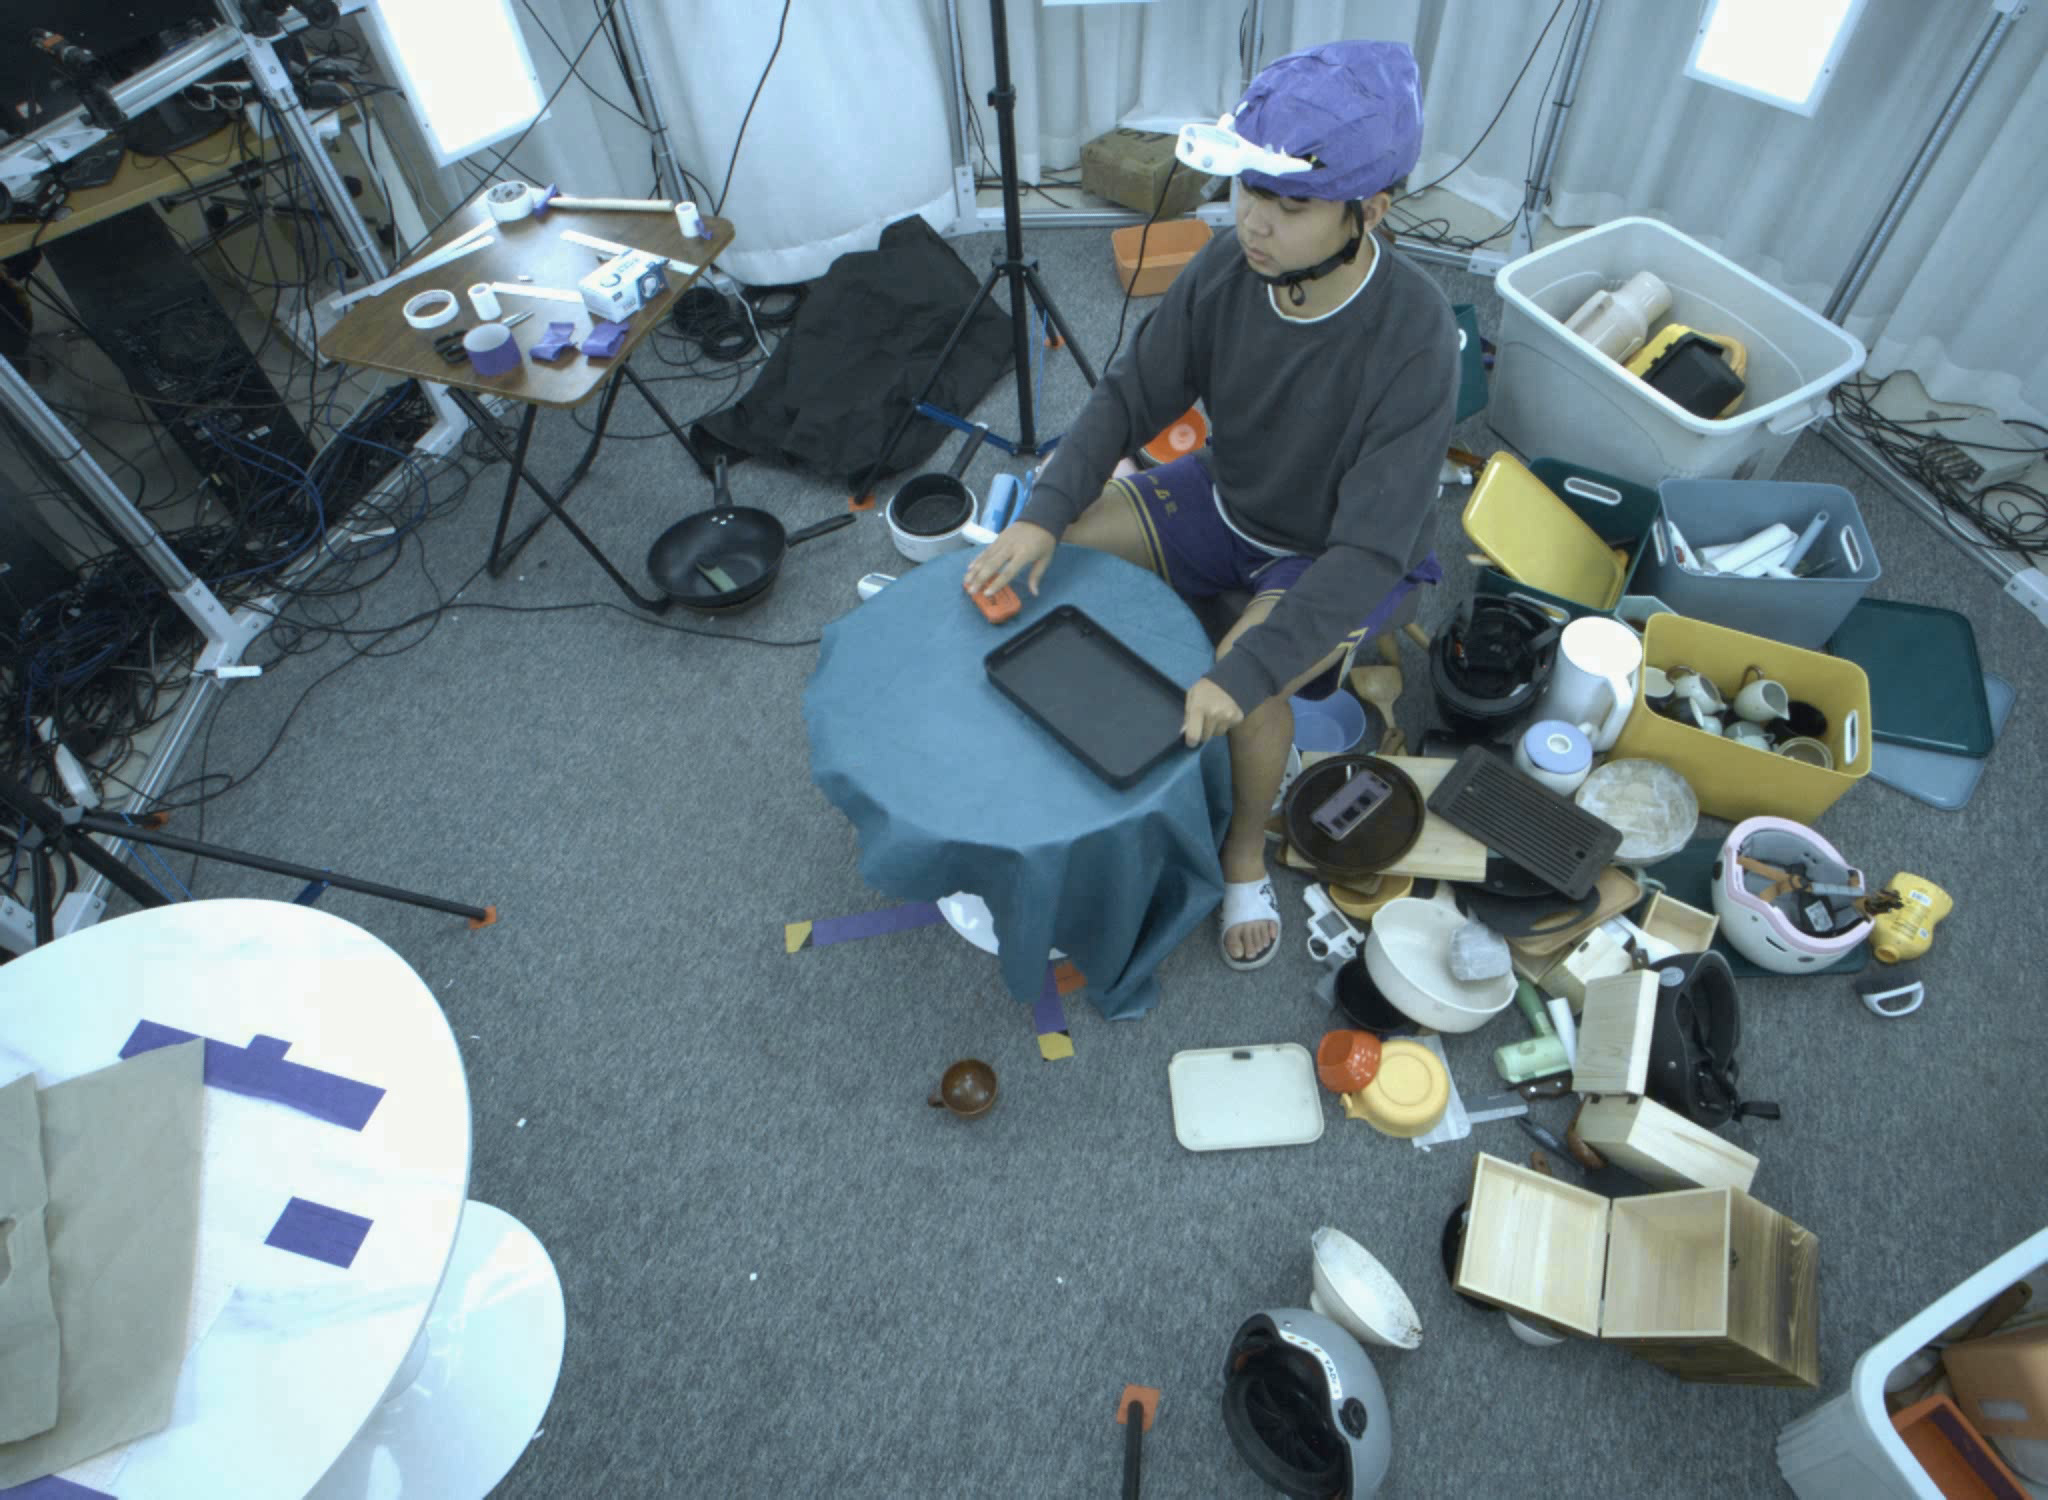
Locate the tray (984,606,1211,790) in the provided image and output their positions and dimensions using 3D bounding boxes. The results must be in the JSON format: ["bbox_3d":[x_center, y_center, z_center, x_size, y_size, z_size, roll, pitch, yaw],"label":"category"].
[{"bbox_3d":[0.105,-0.082,1.816,0.186,0.037,0.312,-37,59,-23],"label":"tray"}]

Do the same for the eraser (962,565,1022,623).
[{"bbox_3d":[-0.052,-0.249,1.950,0.059,0.023,0.106,-22,55,-22],"label":"eraser"}]
